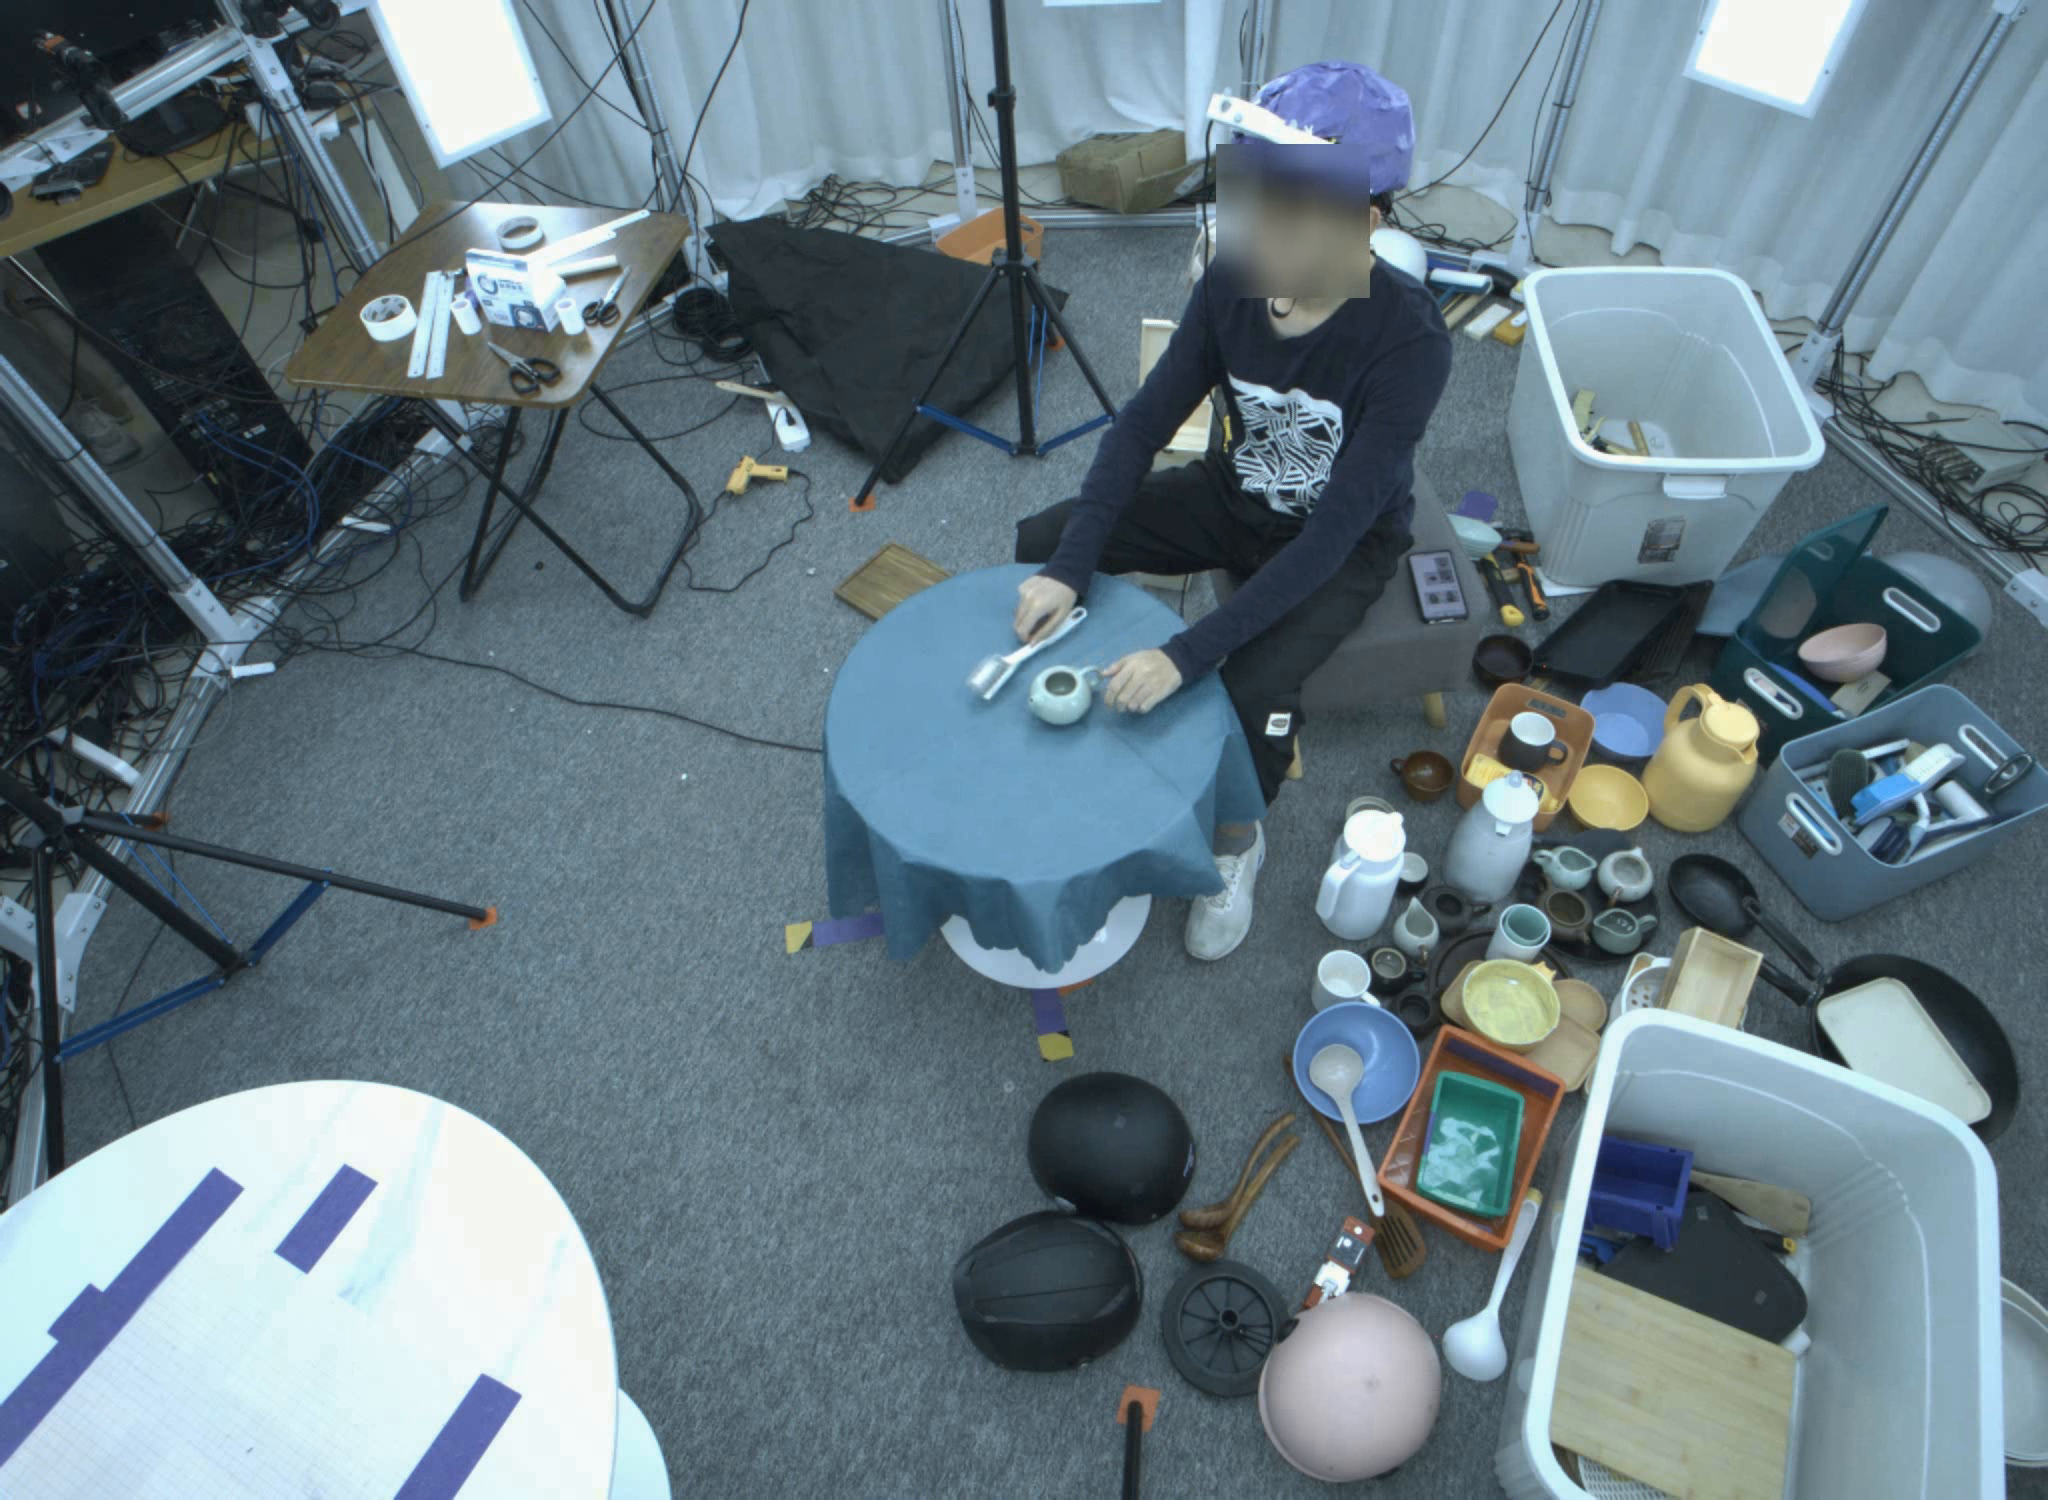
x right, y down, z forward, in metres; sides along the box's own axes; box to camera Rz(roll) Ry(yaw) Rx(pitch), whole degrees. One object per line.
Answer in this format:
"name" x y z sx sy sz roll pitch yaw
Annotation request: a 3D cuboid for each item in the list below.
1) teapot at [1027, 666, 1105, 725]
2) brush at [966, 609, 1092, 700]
"teapot" 0.063 -0.083 1.802 0.129 0.062 0.089 -25 52 -15
"brush" 0.011 -0.158 1.863 0.245 0.051 0.034 -38 57 -22
